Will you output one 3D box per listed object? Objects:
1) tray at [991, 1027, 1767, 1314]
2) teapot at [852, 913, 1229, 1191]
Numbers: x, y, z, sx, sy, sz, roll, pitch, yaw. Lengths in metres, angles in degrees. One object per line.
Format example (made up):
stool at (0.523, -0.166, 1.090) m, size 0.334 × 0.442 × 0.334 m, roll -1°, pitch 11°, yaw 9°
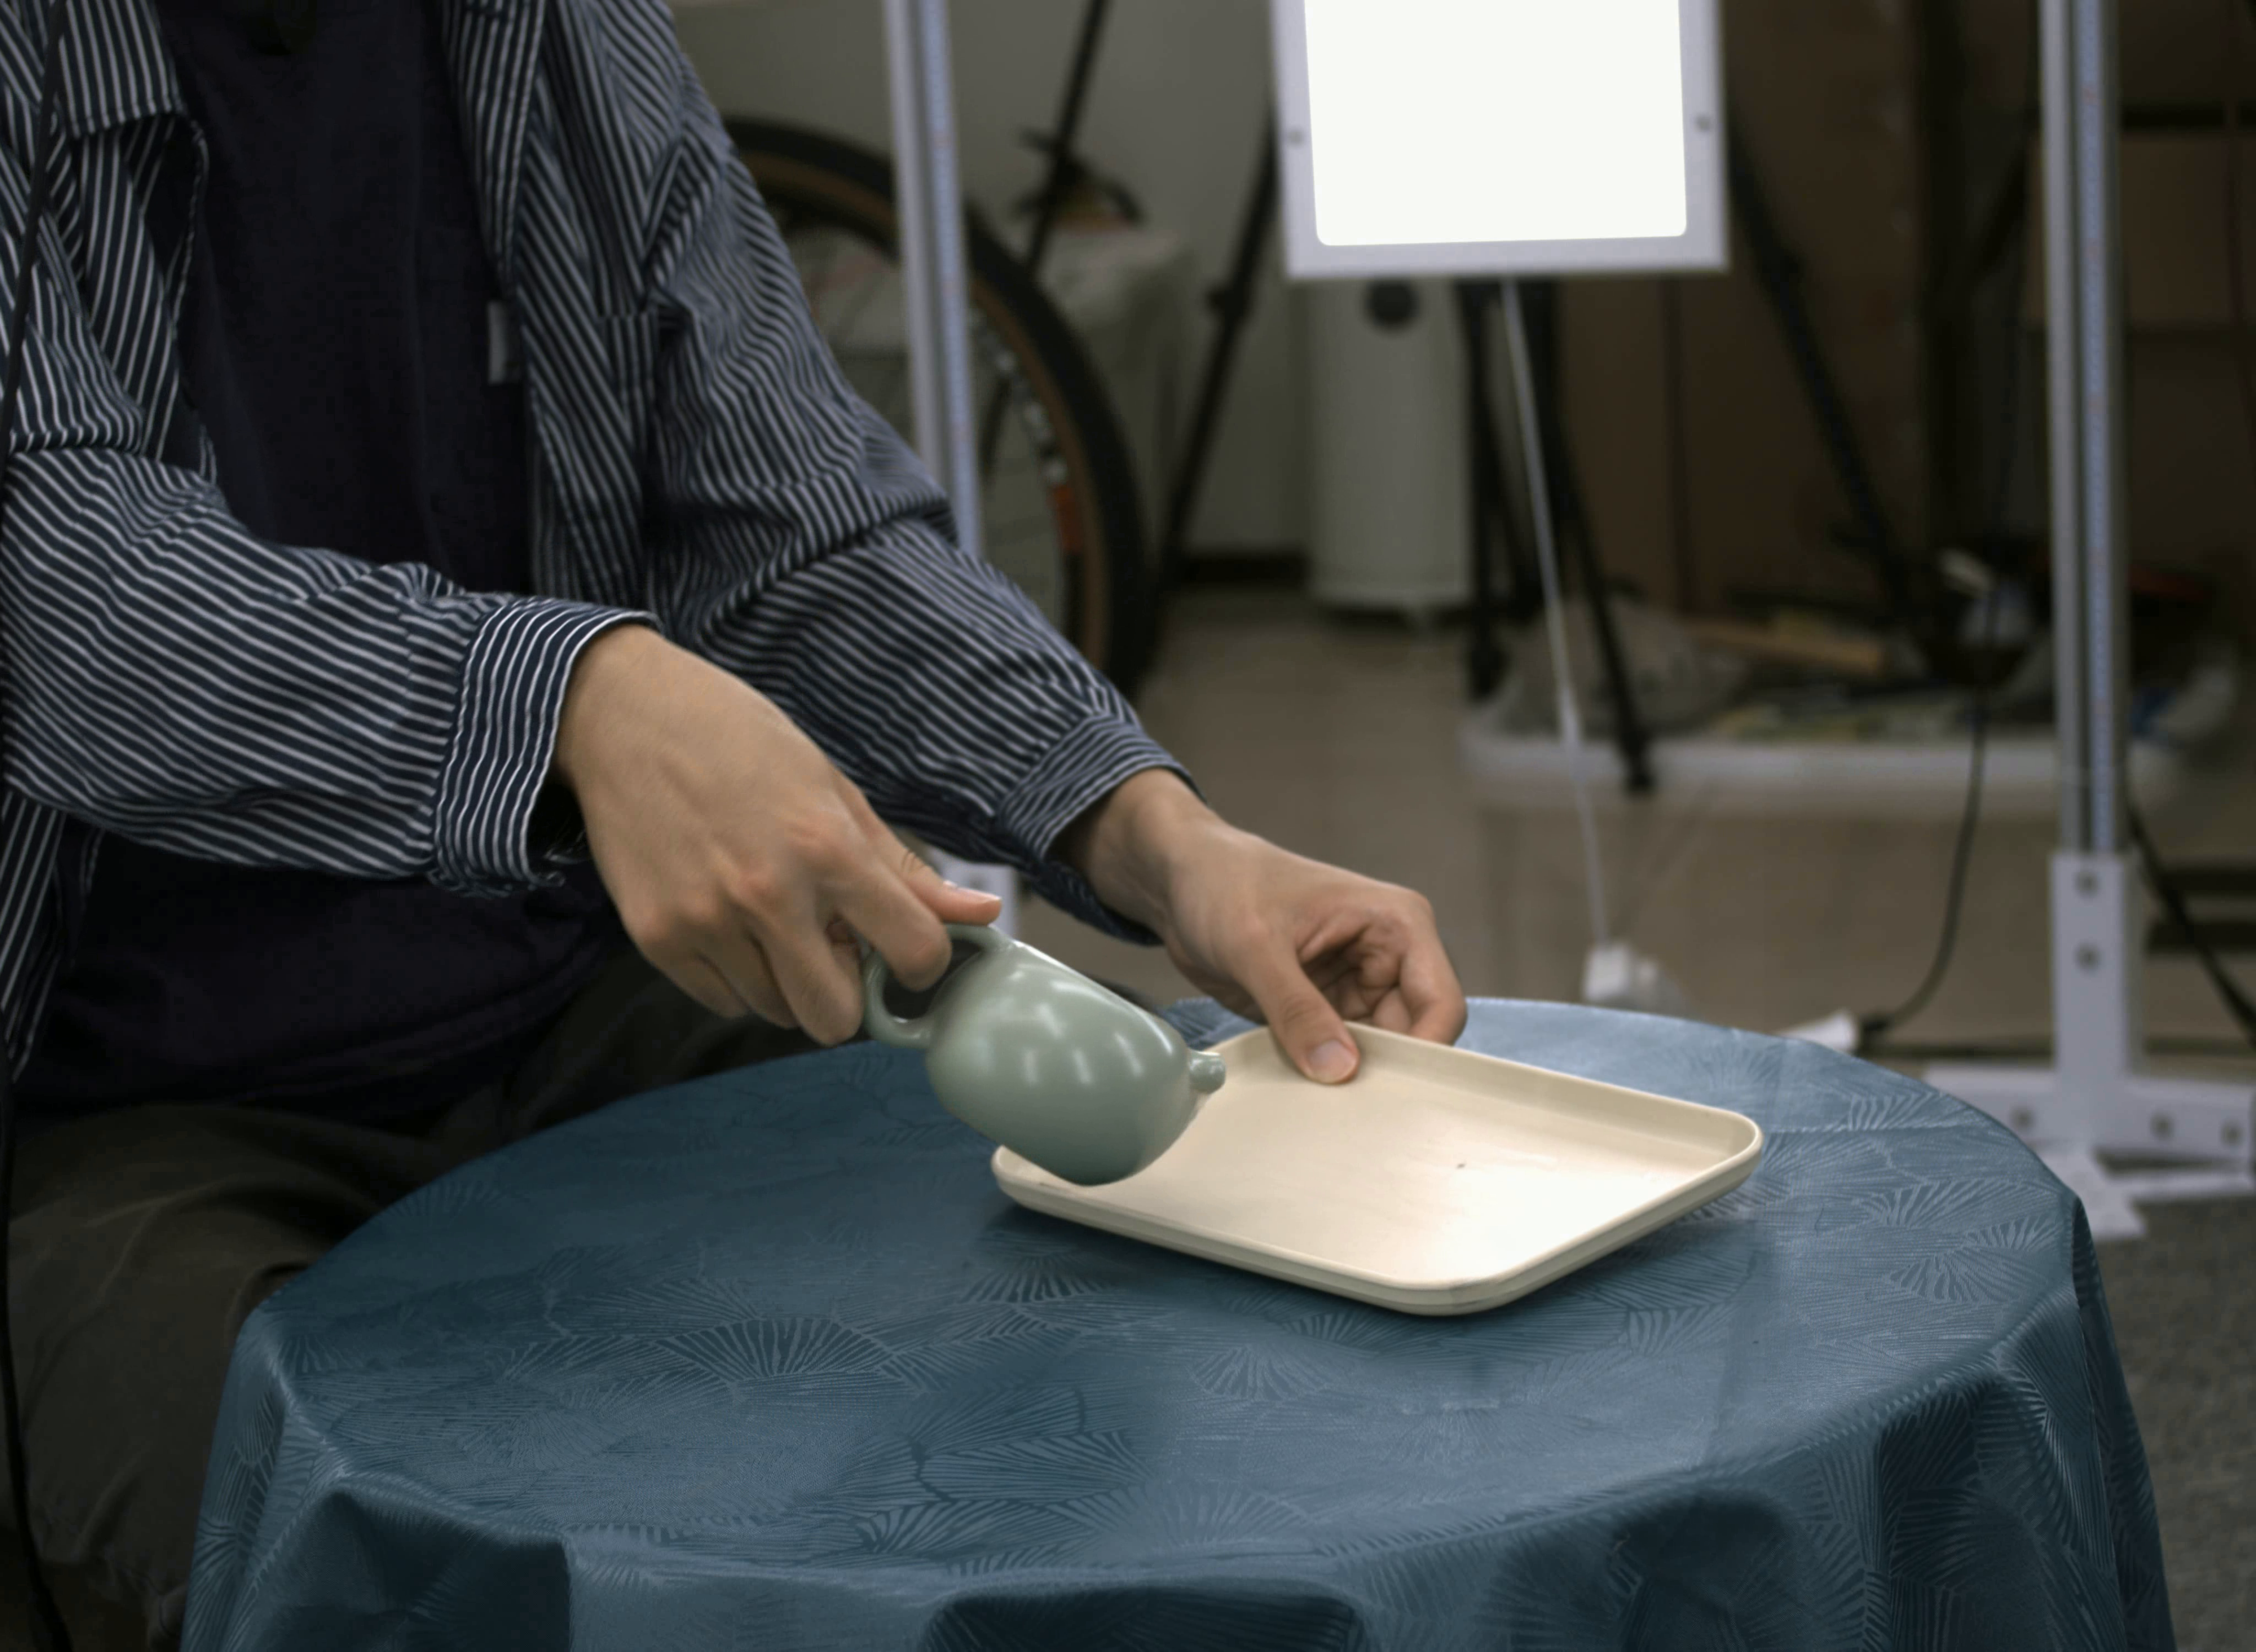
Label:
tray at (0.083, 0.115, 1.851) m, size 0.167 × 0.017 × 0.245 m, roll -21°, pitch 21°, yaw -38°
teapot at (-0.032, 0.074, 1.787) m, size 0.127 × 0.061 × 0.092 m, roll 30°, pitch 2°, yaw -13°
